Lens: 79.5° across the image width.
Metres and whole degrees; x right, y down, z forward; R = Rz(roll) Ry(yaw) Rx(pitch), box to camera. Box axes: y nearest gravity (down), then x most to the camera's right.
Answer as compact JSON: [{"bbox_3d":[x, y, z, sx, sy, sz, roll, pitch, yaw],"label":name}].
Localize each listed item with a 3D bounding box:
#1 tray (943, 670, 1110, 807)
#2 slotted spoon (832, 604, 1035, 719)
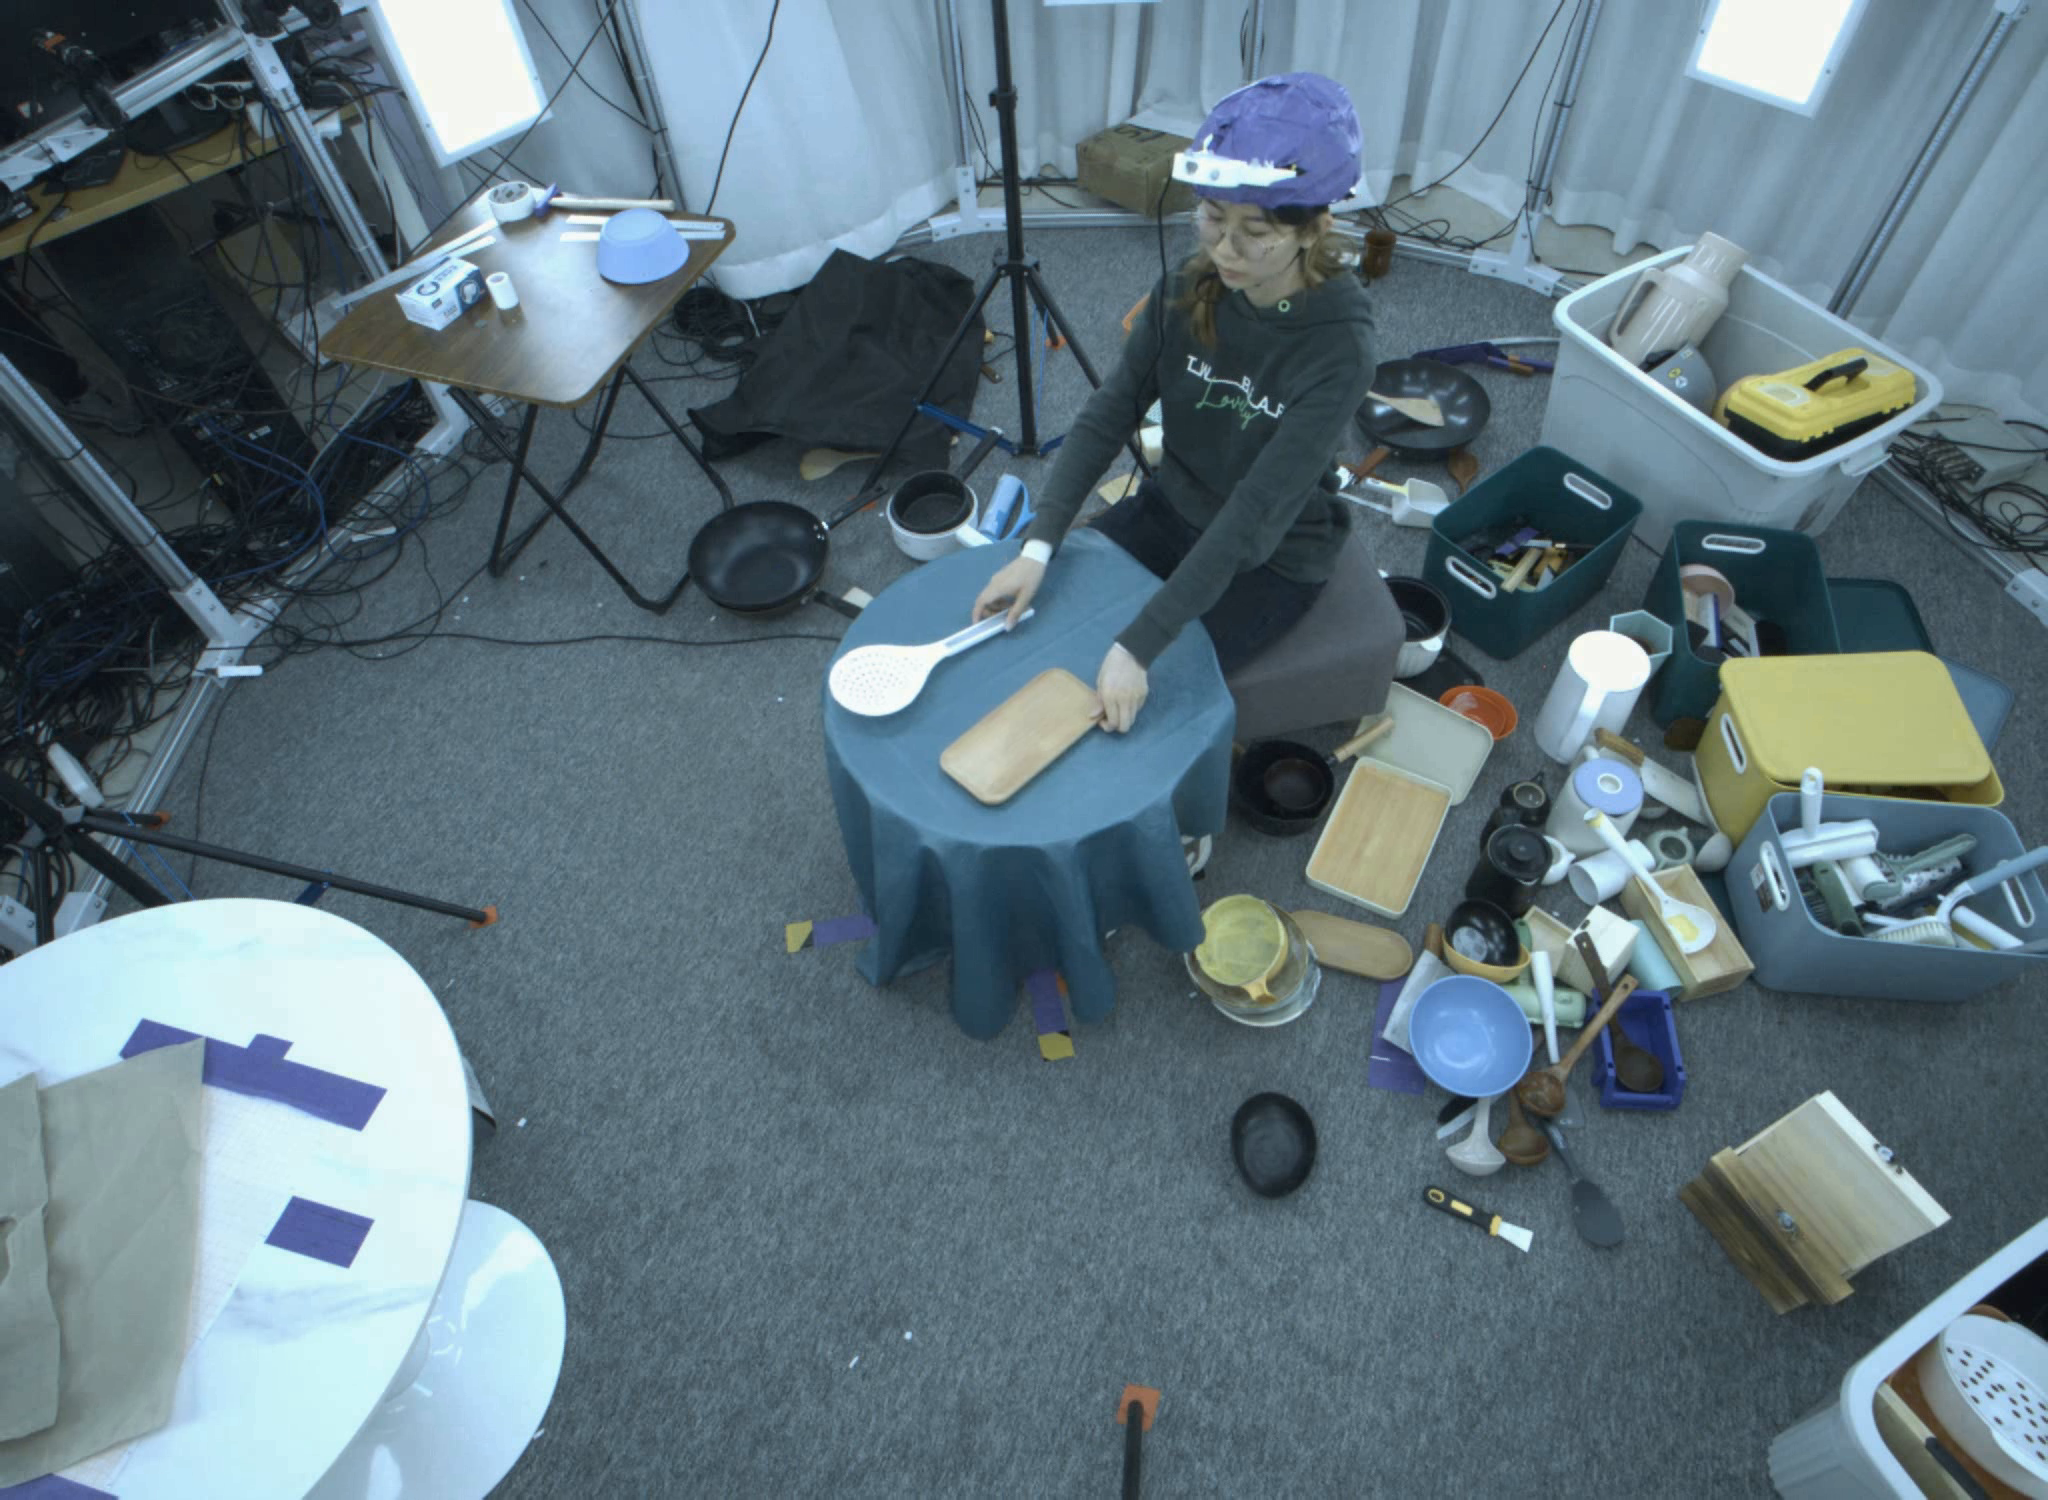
[{"bbox_3d":[0.005,-0.018,1.799,0.252,0.023,0.128,-39,63,-24],"label":"tray"},{"bbox_3d":[-0.132,-0.145,1.876,0.352,0.046,0.134,-31,63,-19],"label":"slotted spoon"}]
